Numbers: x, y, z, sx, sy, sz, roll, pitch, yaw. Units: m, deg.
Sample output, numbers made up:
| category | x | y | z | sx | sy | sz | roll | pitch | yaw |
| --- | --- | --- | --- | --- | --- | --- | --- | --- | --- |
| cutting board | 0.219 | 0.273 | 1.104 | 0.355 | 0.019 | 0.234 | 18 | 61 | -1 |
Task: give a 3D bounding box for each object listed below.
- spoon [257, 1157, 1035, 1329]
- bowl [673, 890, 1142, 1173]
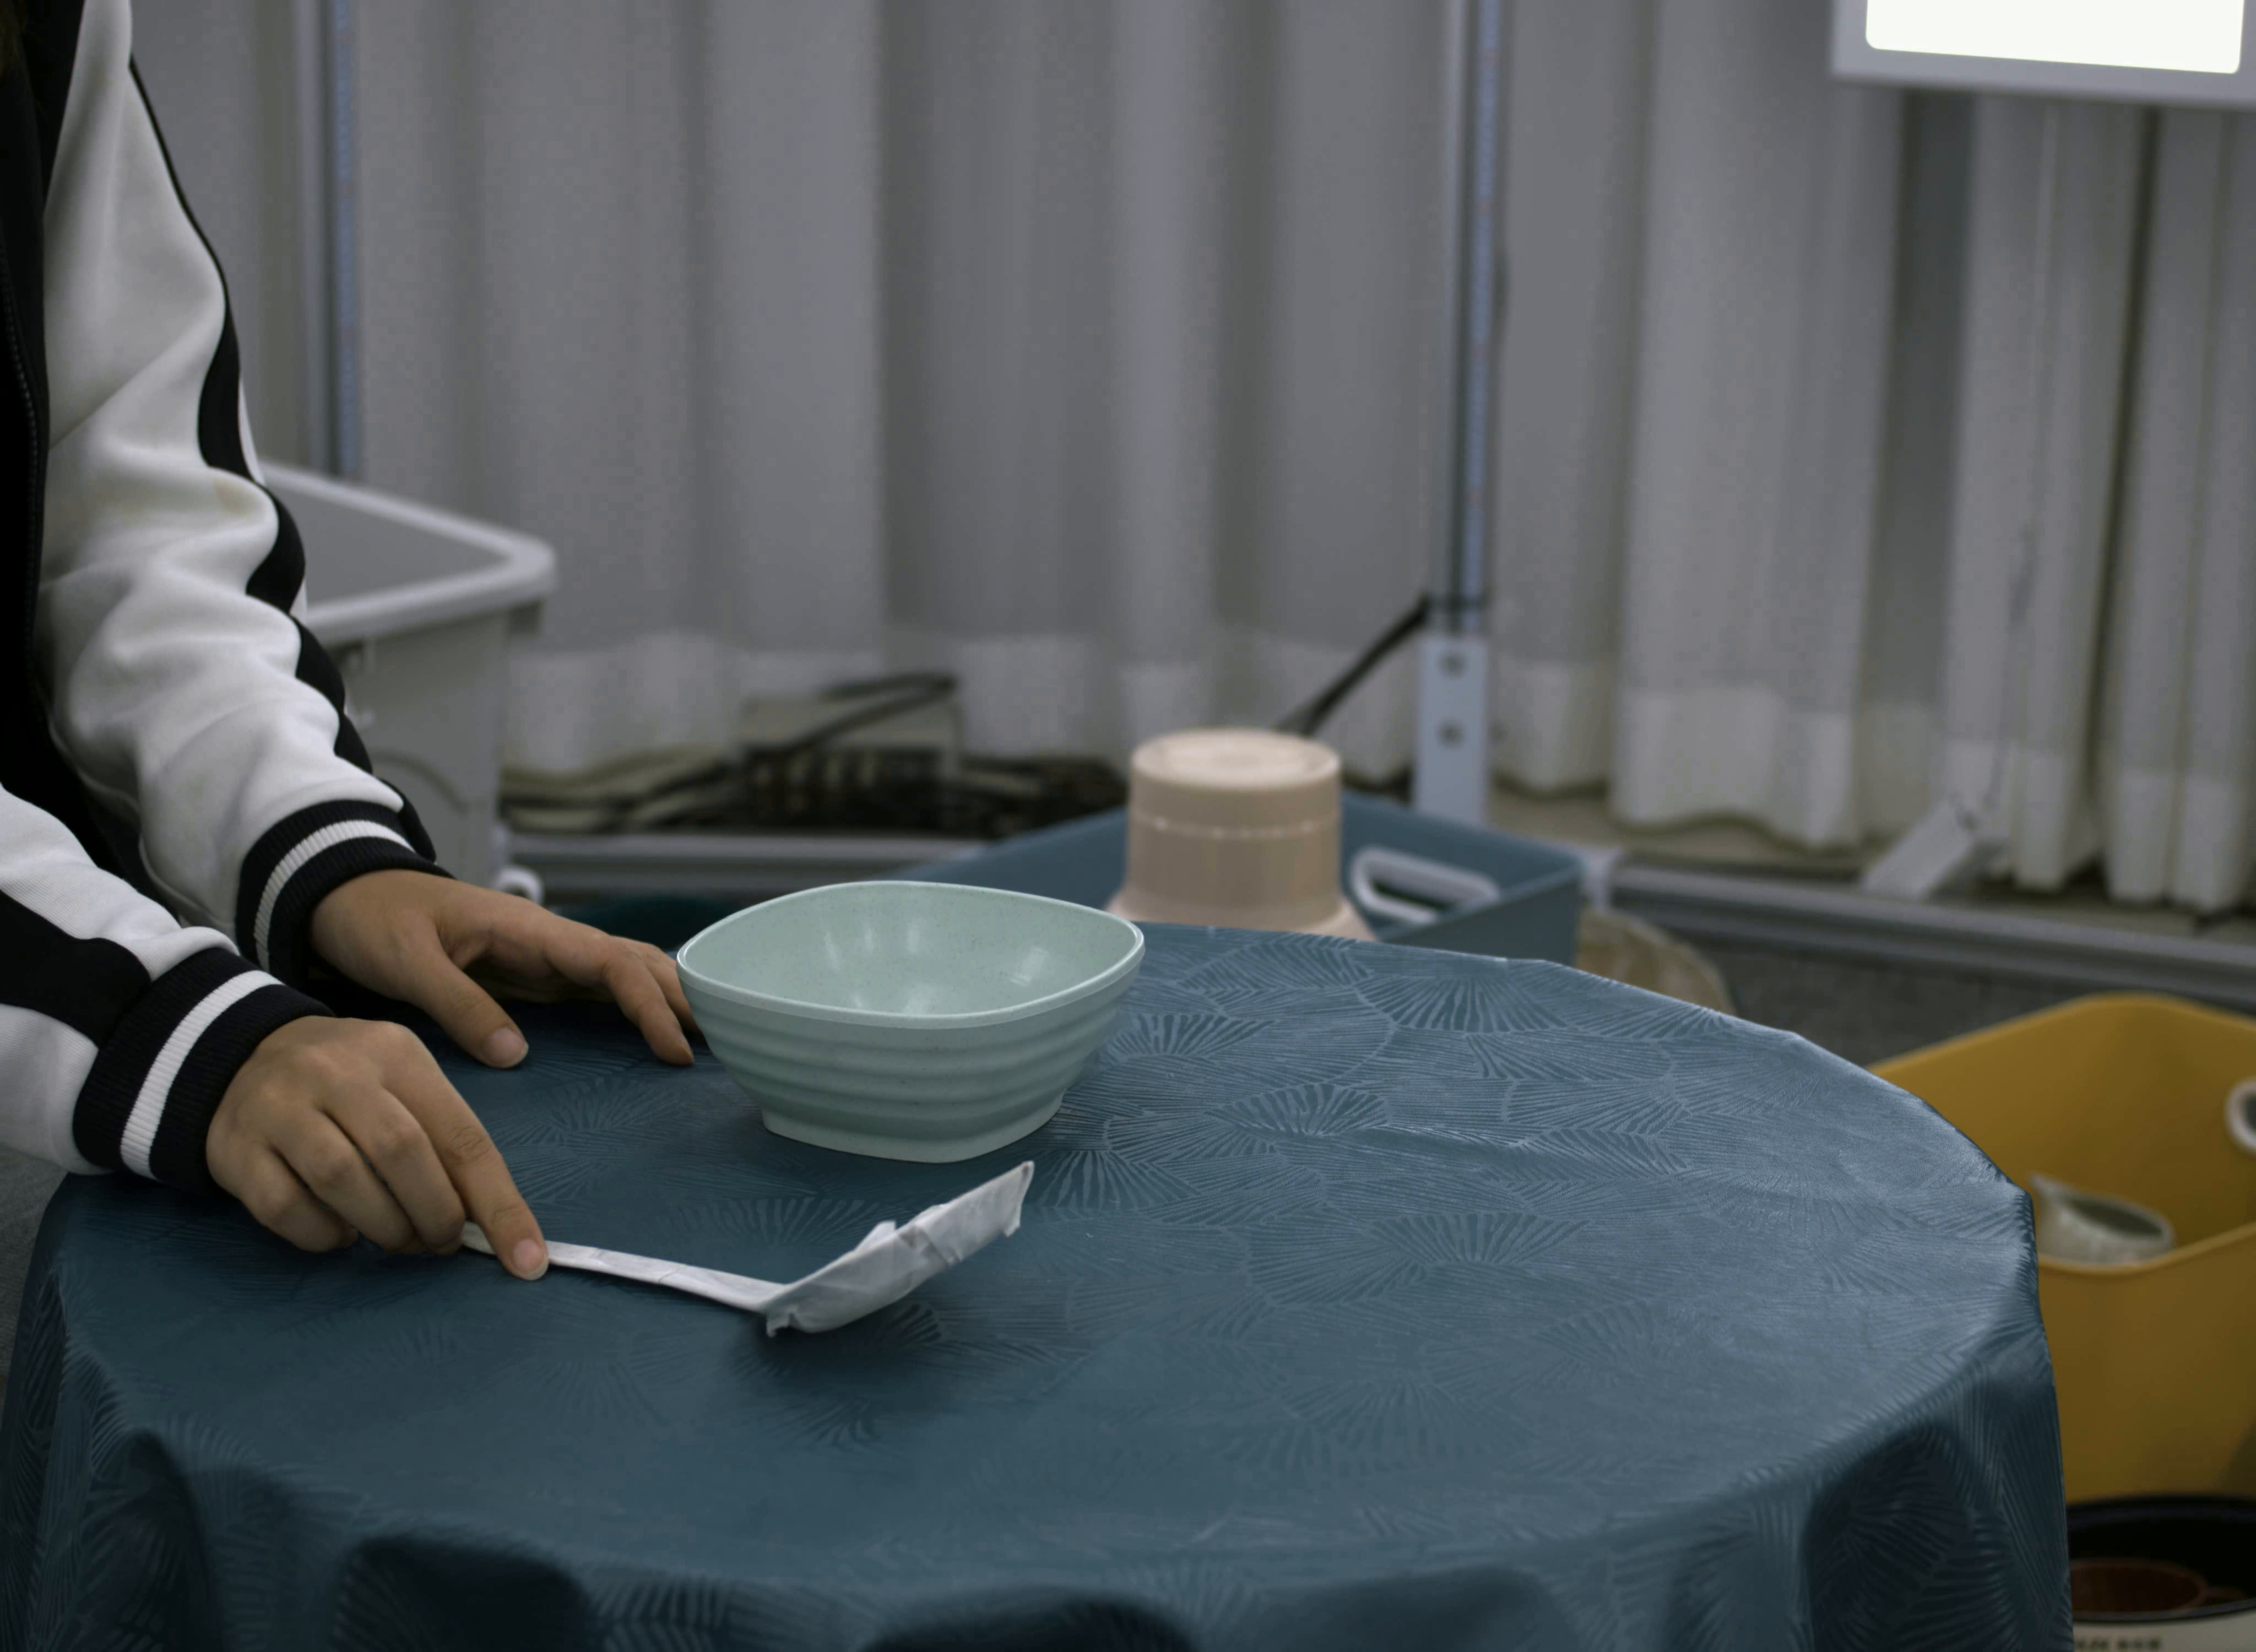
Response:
| category | x | y | z | sx | sy | sz | roll | pitch | yaw |
| --- | --- | --- | --- | --- | --- | --- | --- | --- | --- |
| spoon | -0.148 | 0.102 | 1.548 | 0.274 | 0.060 | 0.101 | 11 | 13 | 32 |
| bowl | -0.070 | 0.068 | 1.682 | 0.151 | 0.059 | 0.150 | 1 | 15 | 0 |
